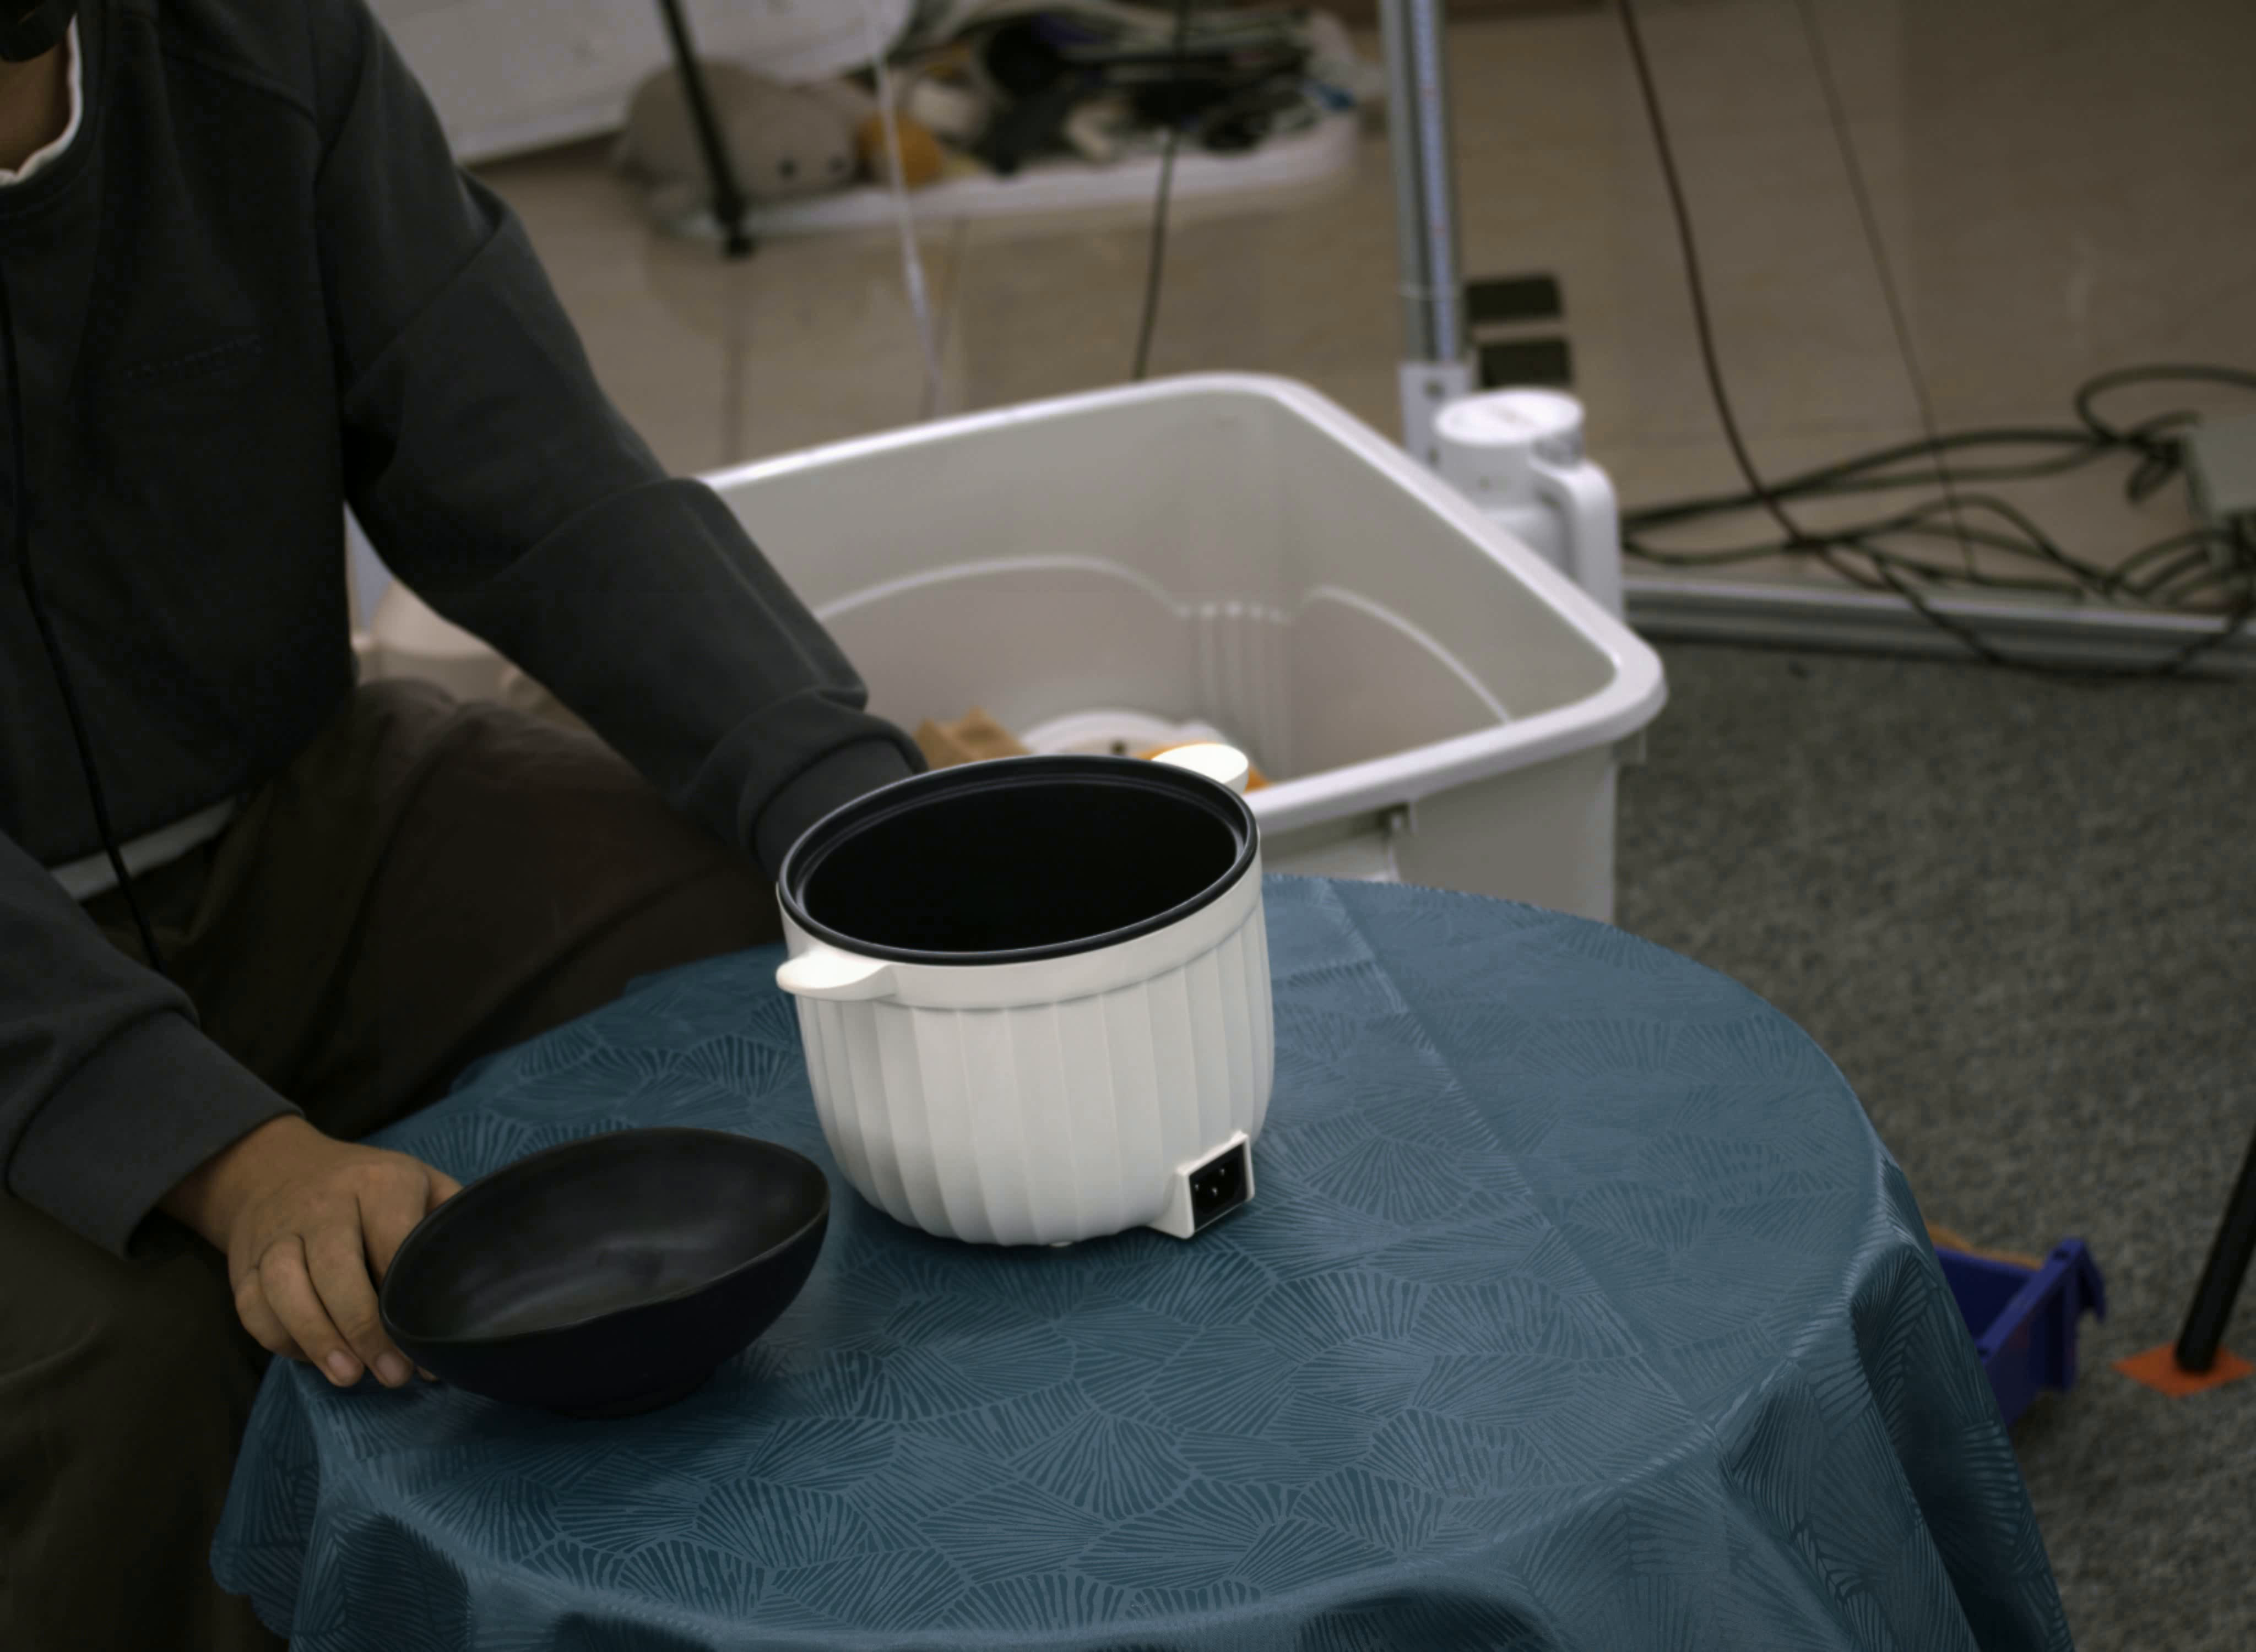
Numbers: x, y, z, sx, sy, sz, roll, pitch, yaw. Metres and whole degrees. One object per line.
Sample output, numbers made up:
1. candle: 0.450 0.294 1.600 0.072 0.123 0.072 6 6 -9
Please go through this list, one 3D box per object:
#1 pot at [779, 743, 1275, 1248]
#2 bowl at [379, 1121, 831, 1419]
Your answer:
1. pot: -0.039 0.069 2.142 0.189 0.145 0.238 19 34 38
2. bowl: -0.184 0.170 2.048 0.169 0.068 0.136 -19 27 -22
